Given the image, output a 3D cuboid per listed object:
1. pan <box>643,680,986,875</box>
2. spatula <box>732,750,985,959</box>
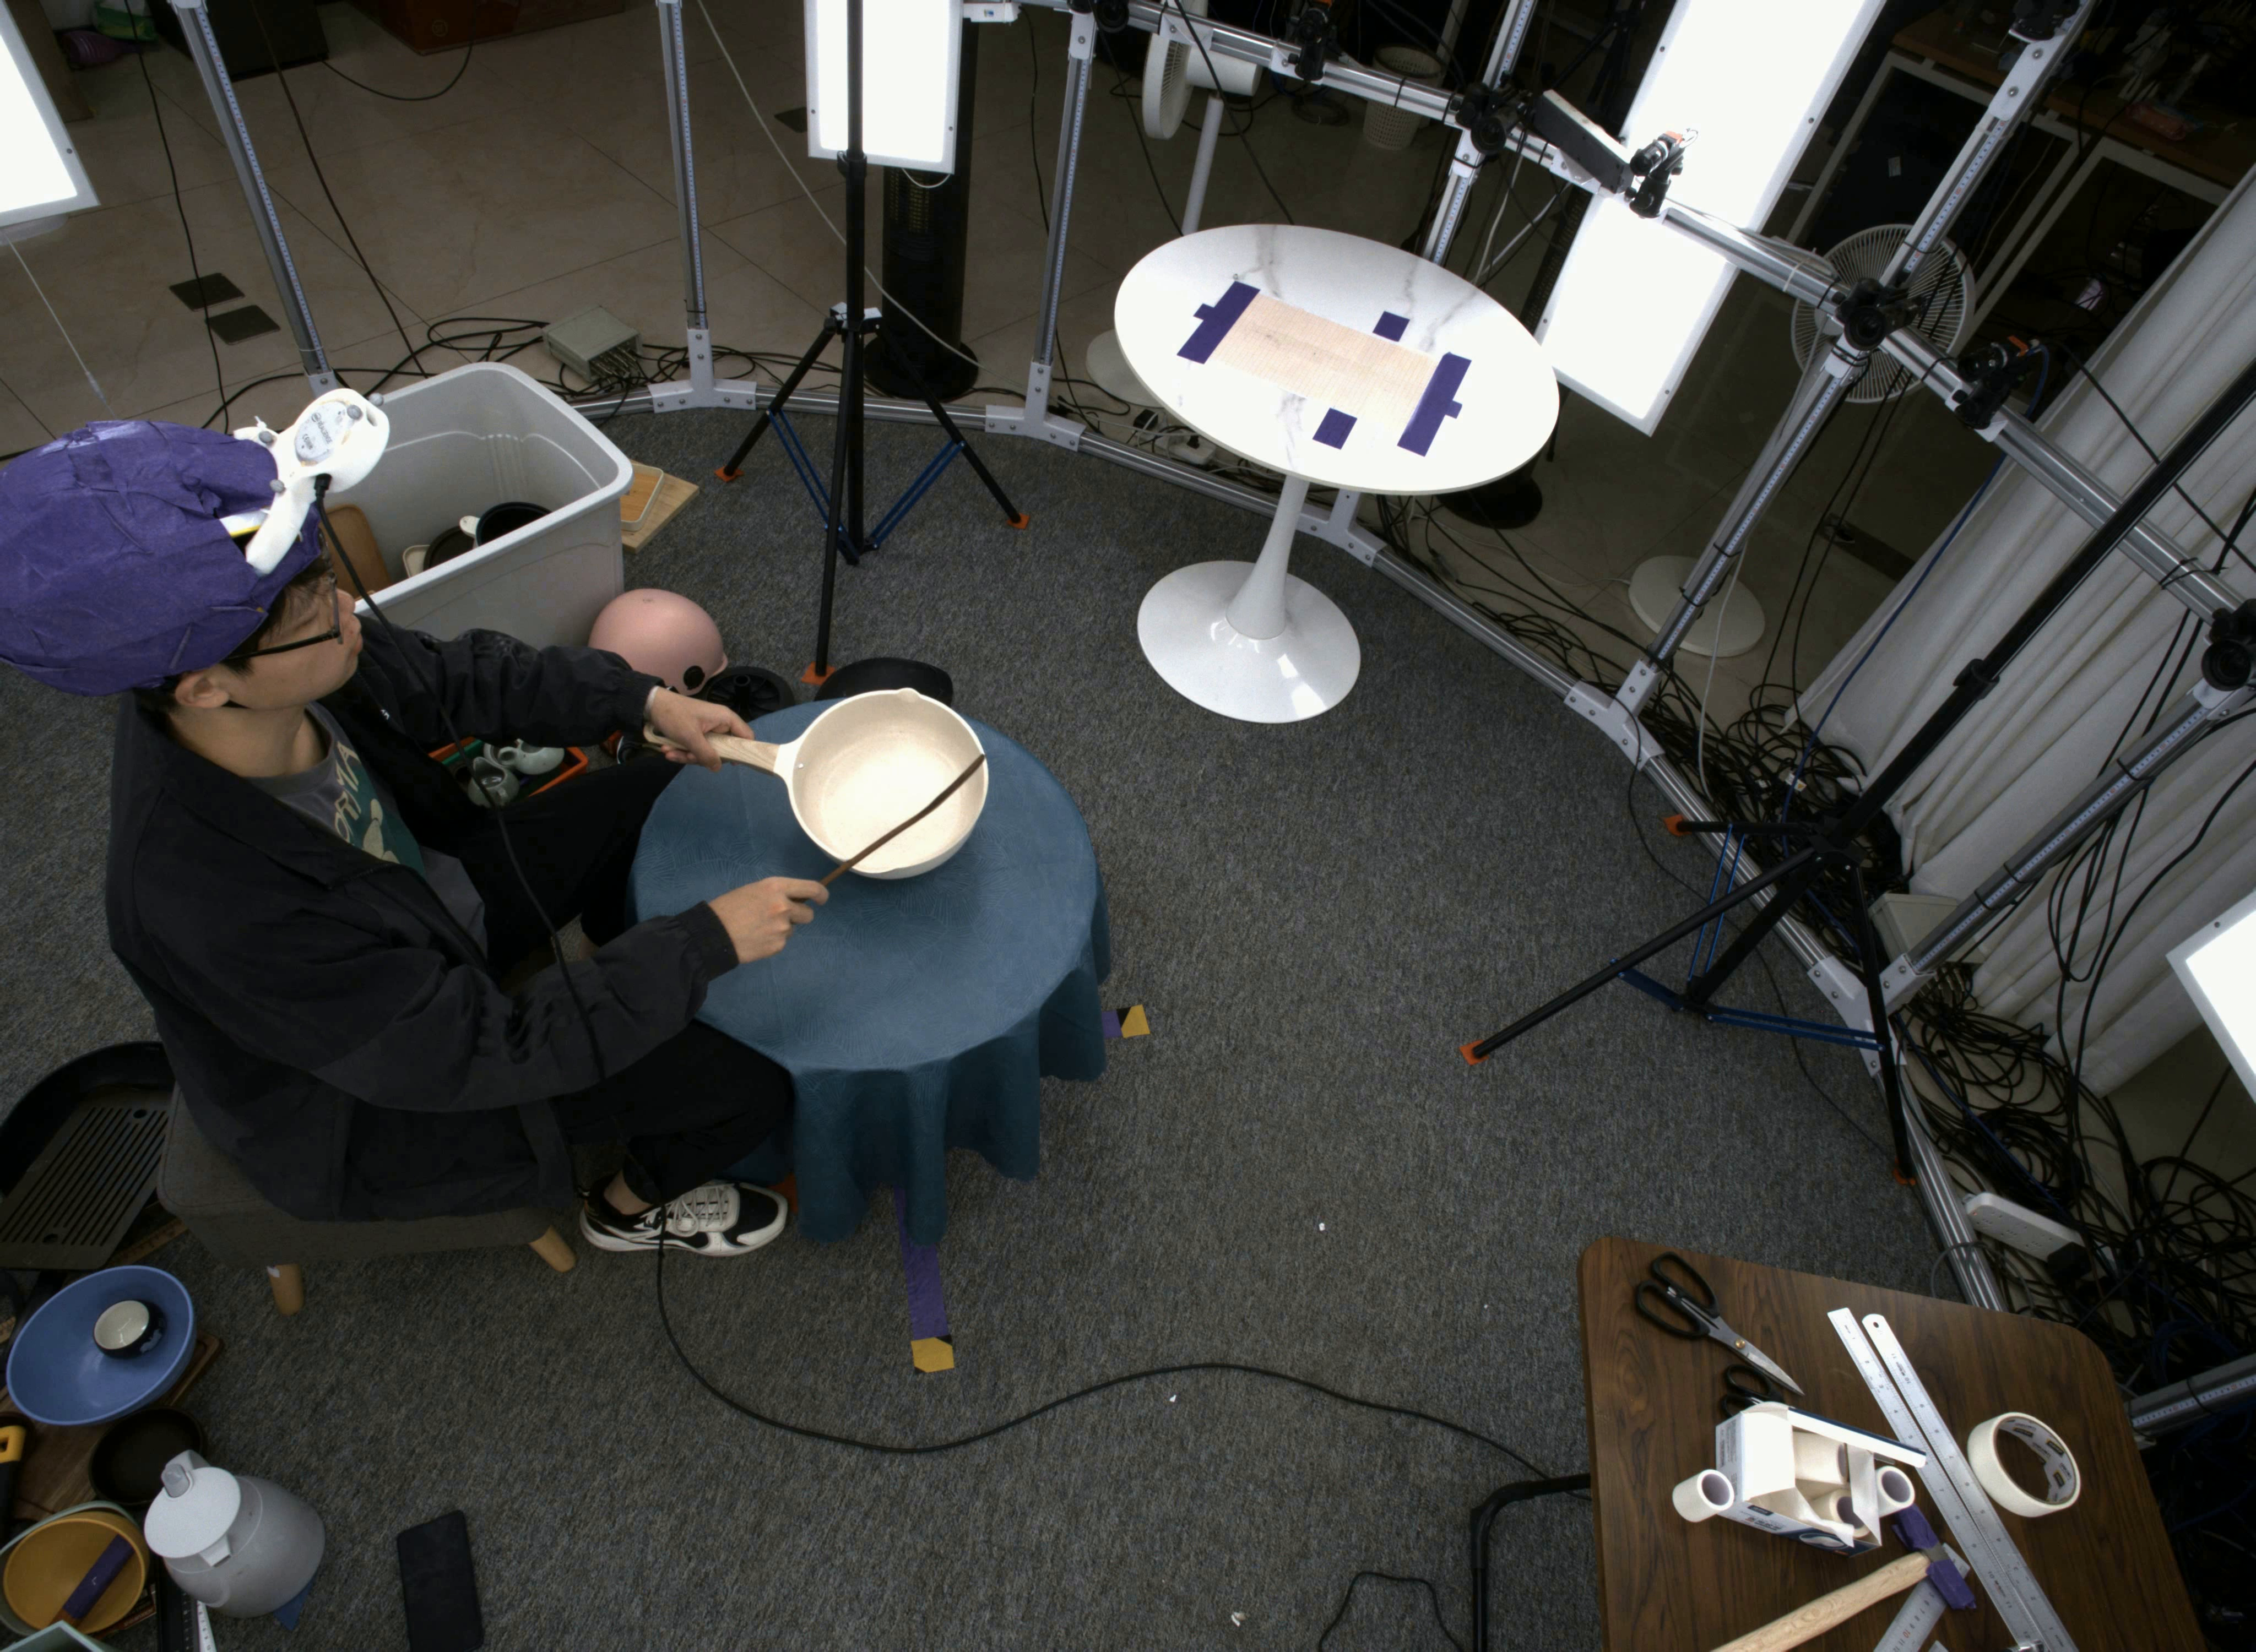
[{"bbox_3d":[-0.397,-0.070,1.665,0.432,0.103,0.262,9,68,-5],"label":"pan"},{"bbox_3d":[-0.313,0.030,1.533,0.386,0.095,0.016,-40,91,-25],"label":"spatula"}]
